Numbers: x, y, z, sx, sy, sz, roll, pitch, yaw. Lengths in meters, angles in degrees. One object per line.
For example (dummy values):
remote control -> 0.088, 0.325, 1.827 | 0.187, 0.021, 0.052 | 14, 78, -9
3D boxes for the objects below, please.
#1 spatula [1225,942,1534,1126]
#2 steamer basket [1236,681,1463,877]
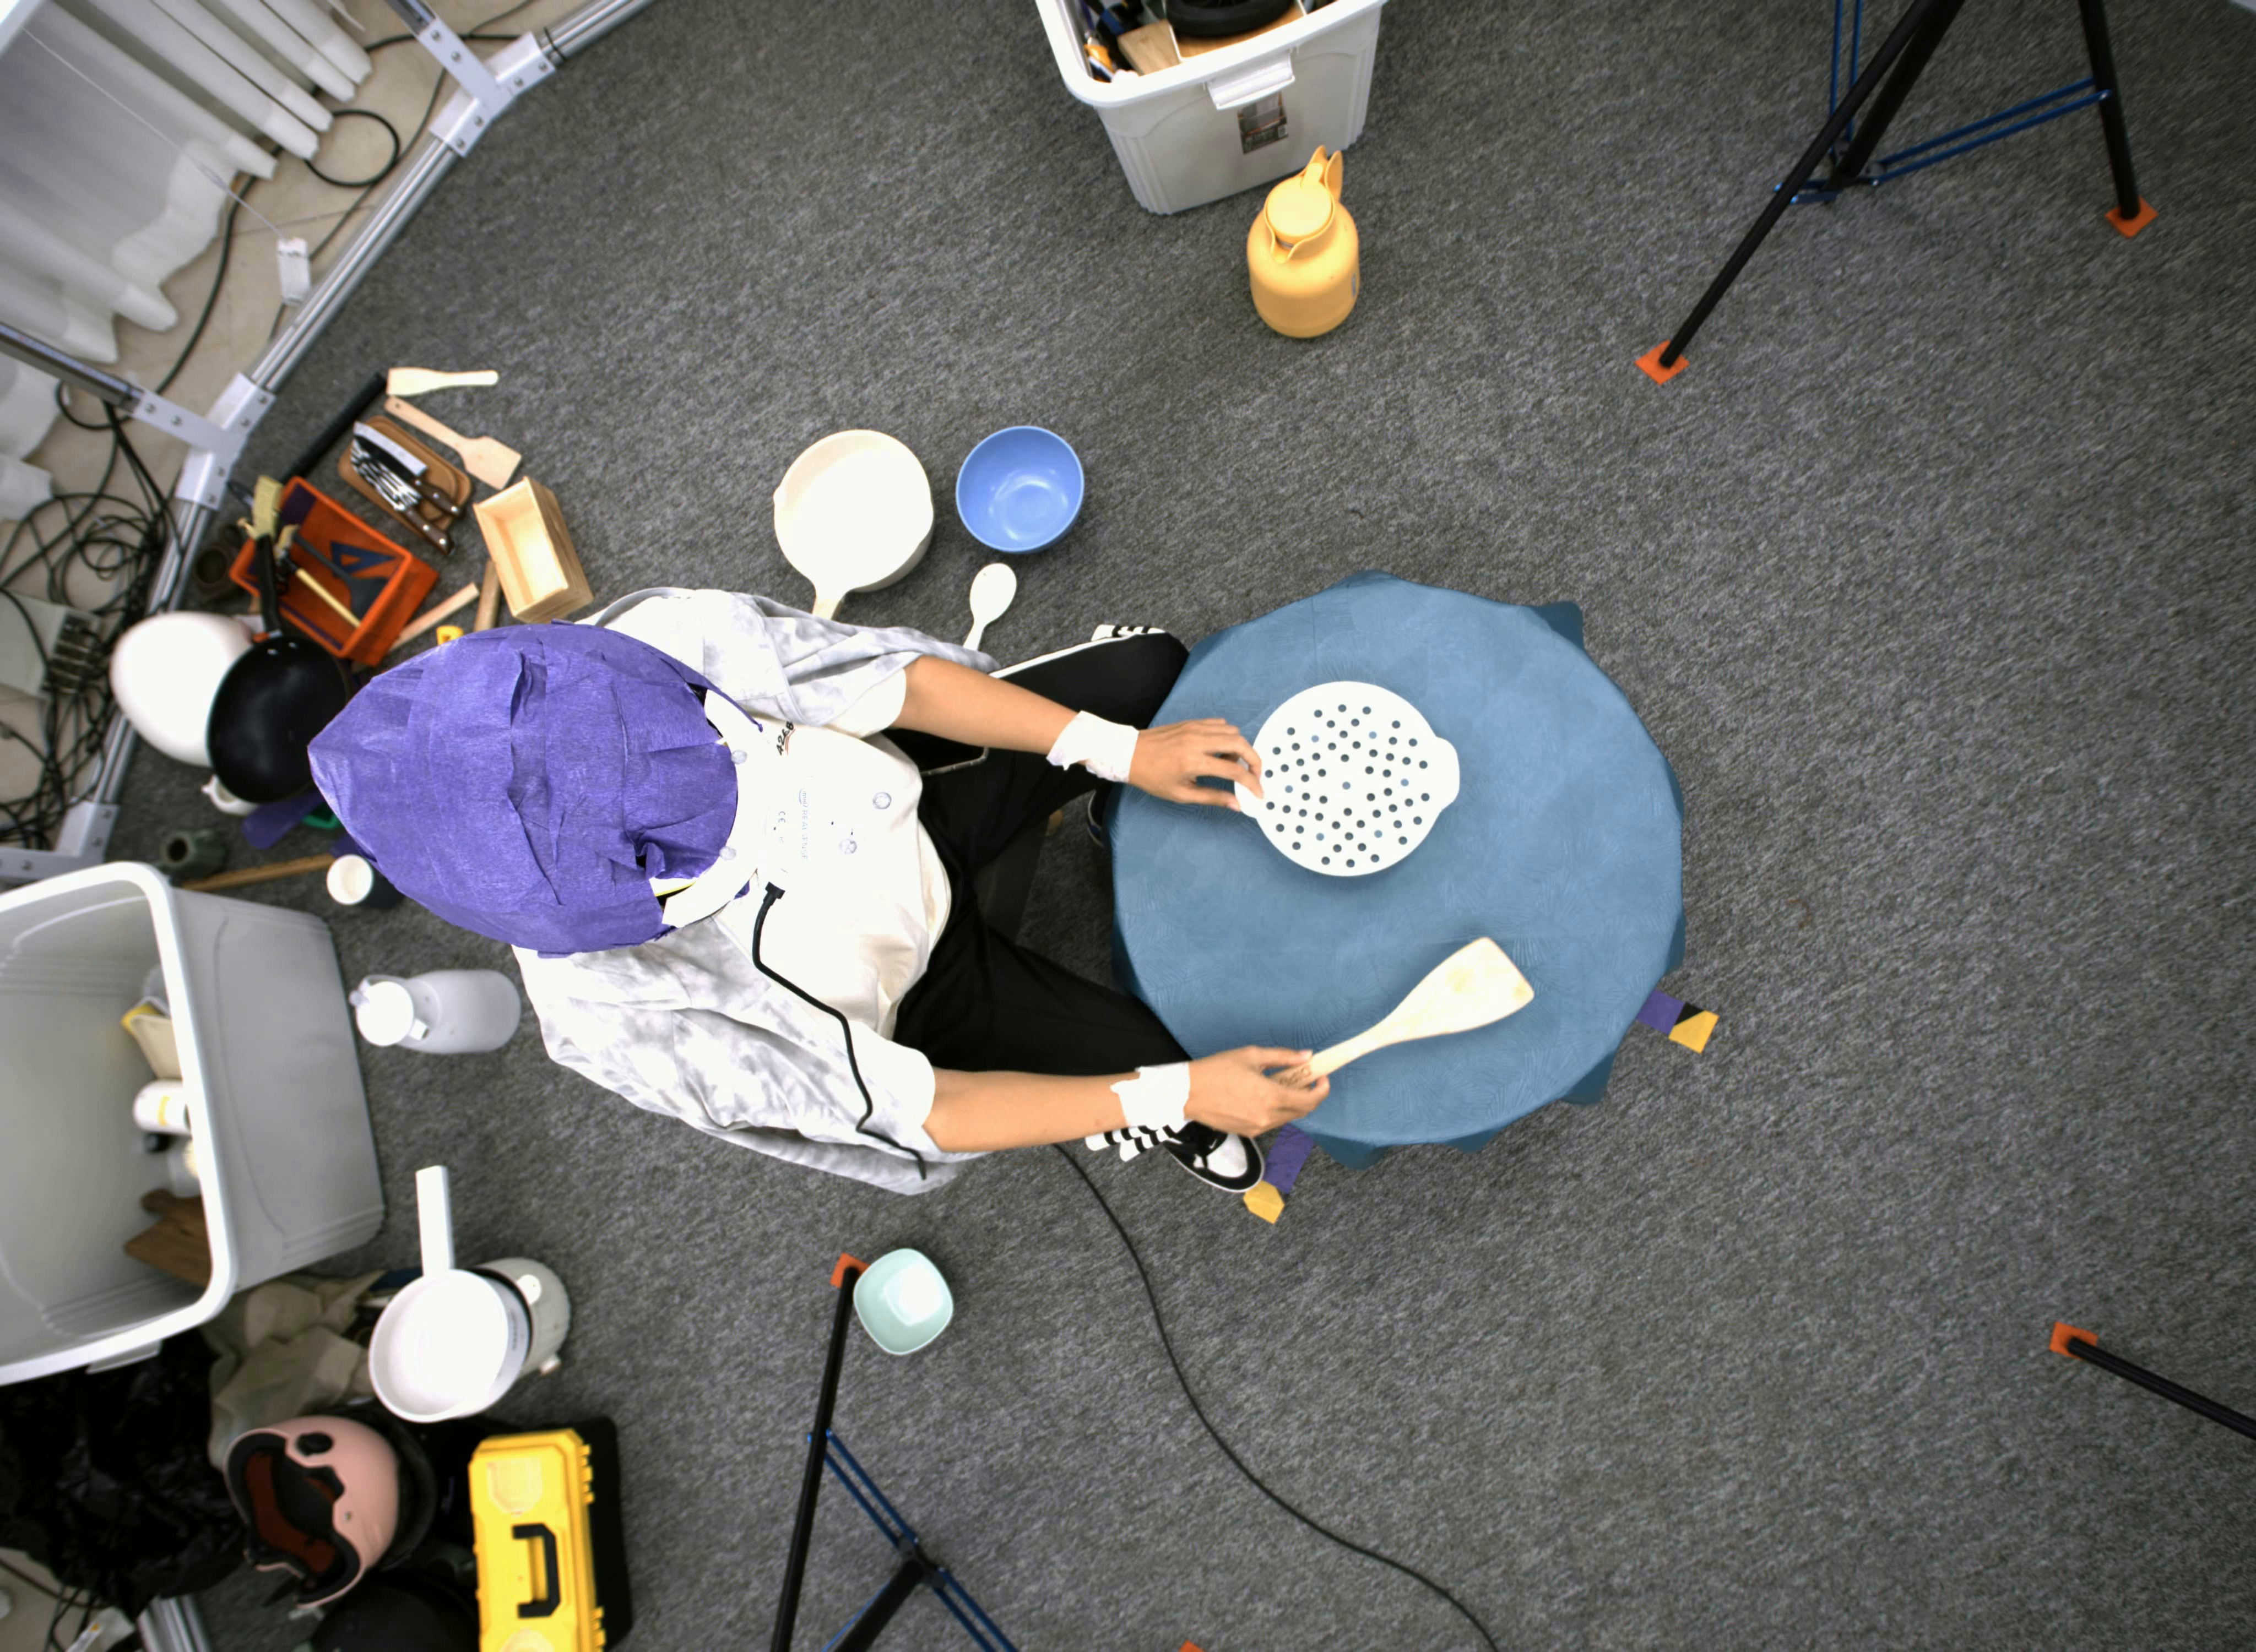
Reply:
spatula -> 0.244, 0.216, 1.385 | 0.328, 0.016, 0.079 | -28, 80, 3
steamer basket -> 0.230, -0.047, 1.439 | 0.231, 0.069, 0.200 | -3, 85, 11
